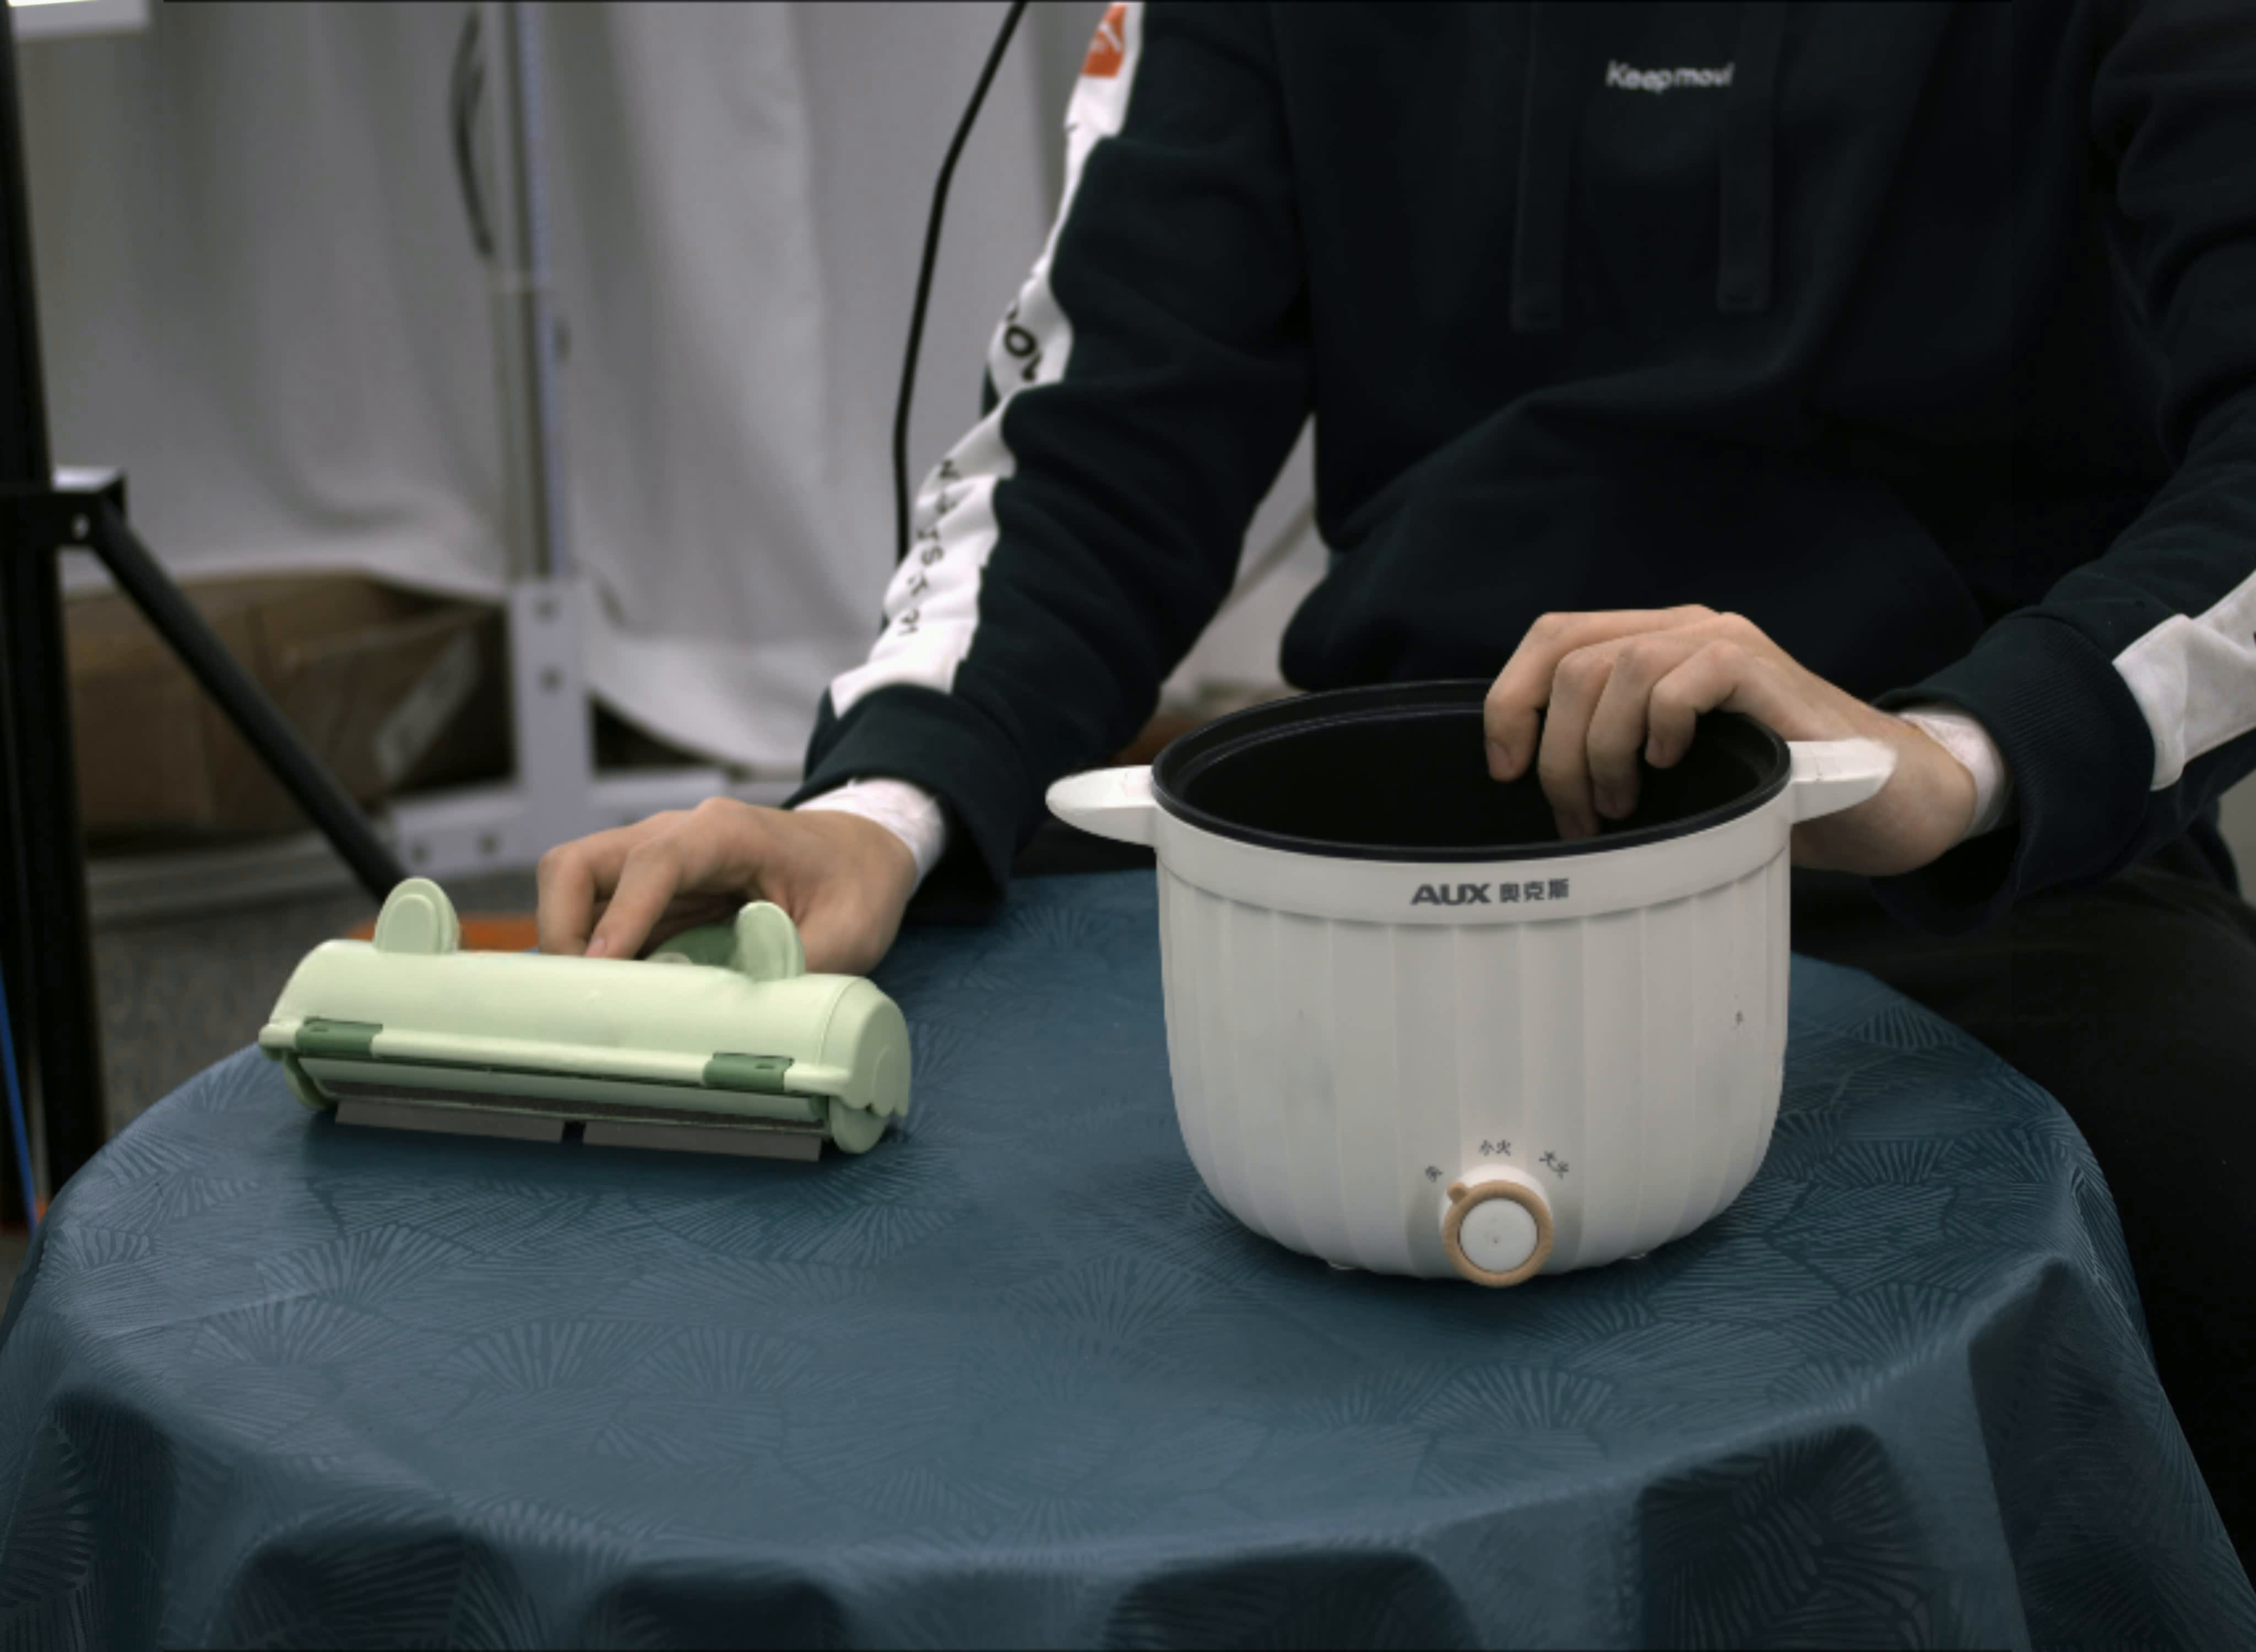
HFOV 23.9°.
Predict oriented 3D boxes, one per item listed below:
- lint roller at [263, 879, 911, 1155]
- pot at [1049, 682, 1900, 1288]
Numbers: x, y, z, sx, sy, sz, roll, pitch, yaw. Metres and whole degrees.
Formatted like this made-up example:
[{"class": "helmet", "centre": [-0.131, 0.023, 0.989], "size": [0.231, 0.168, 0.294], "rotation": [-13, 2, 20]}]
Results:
[{"class": "lint roller", "centre": [-0.147, 0.041, 1.680], "size": [0.201, 0.082, 0.181], "rotation": [3, 22, 21]}, {"class": "pot", "centre": [0.101, 0.047, 1.503], "size": [0.240, 0.143, 0.191], "rotation": [-3, 12, 2]}]
